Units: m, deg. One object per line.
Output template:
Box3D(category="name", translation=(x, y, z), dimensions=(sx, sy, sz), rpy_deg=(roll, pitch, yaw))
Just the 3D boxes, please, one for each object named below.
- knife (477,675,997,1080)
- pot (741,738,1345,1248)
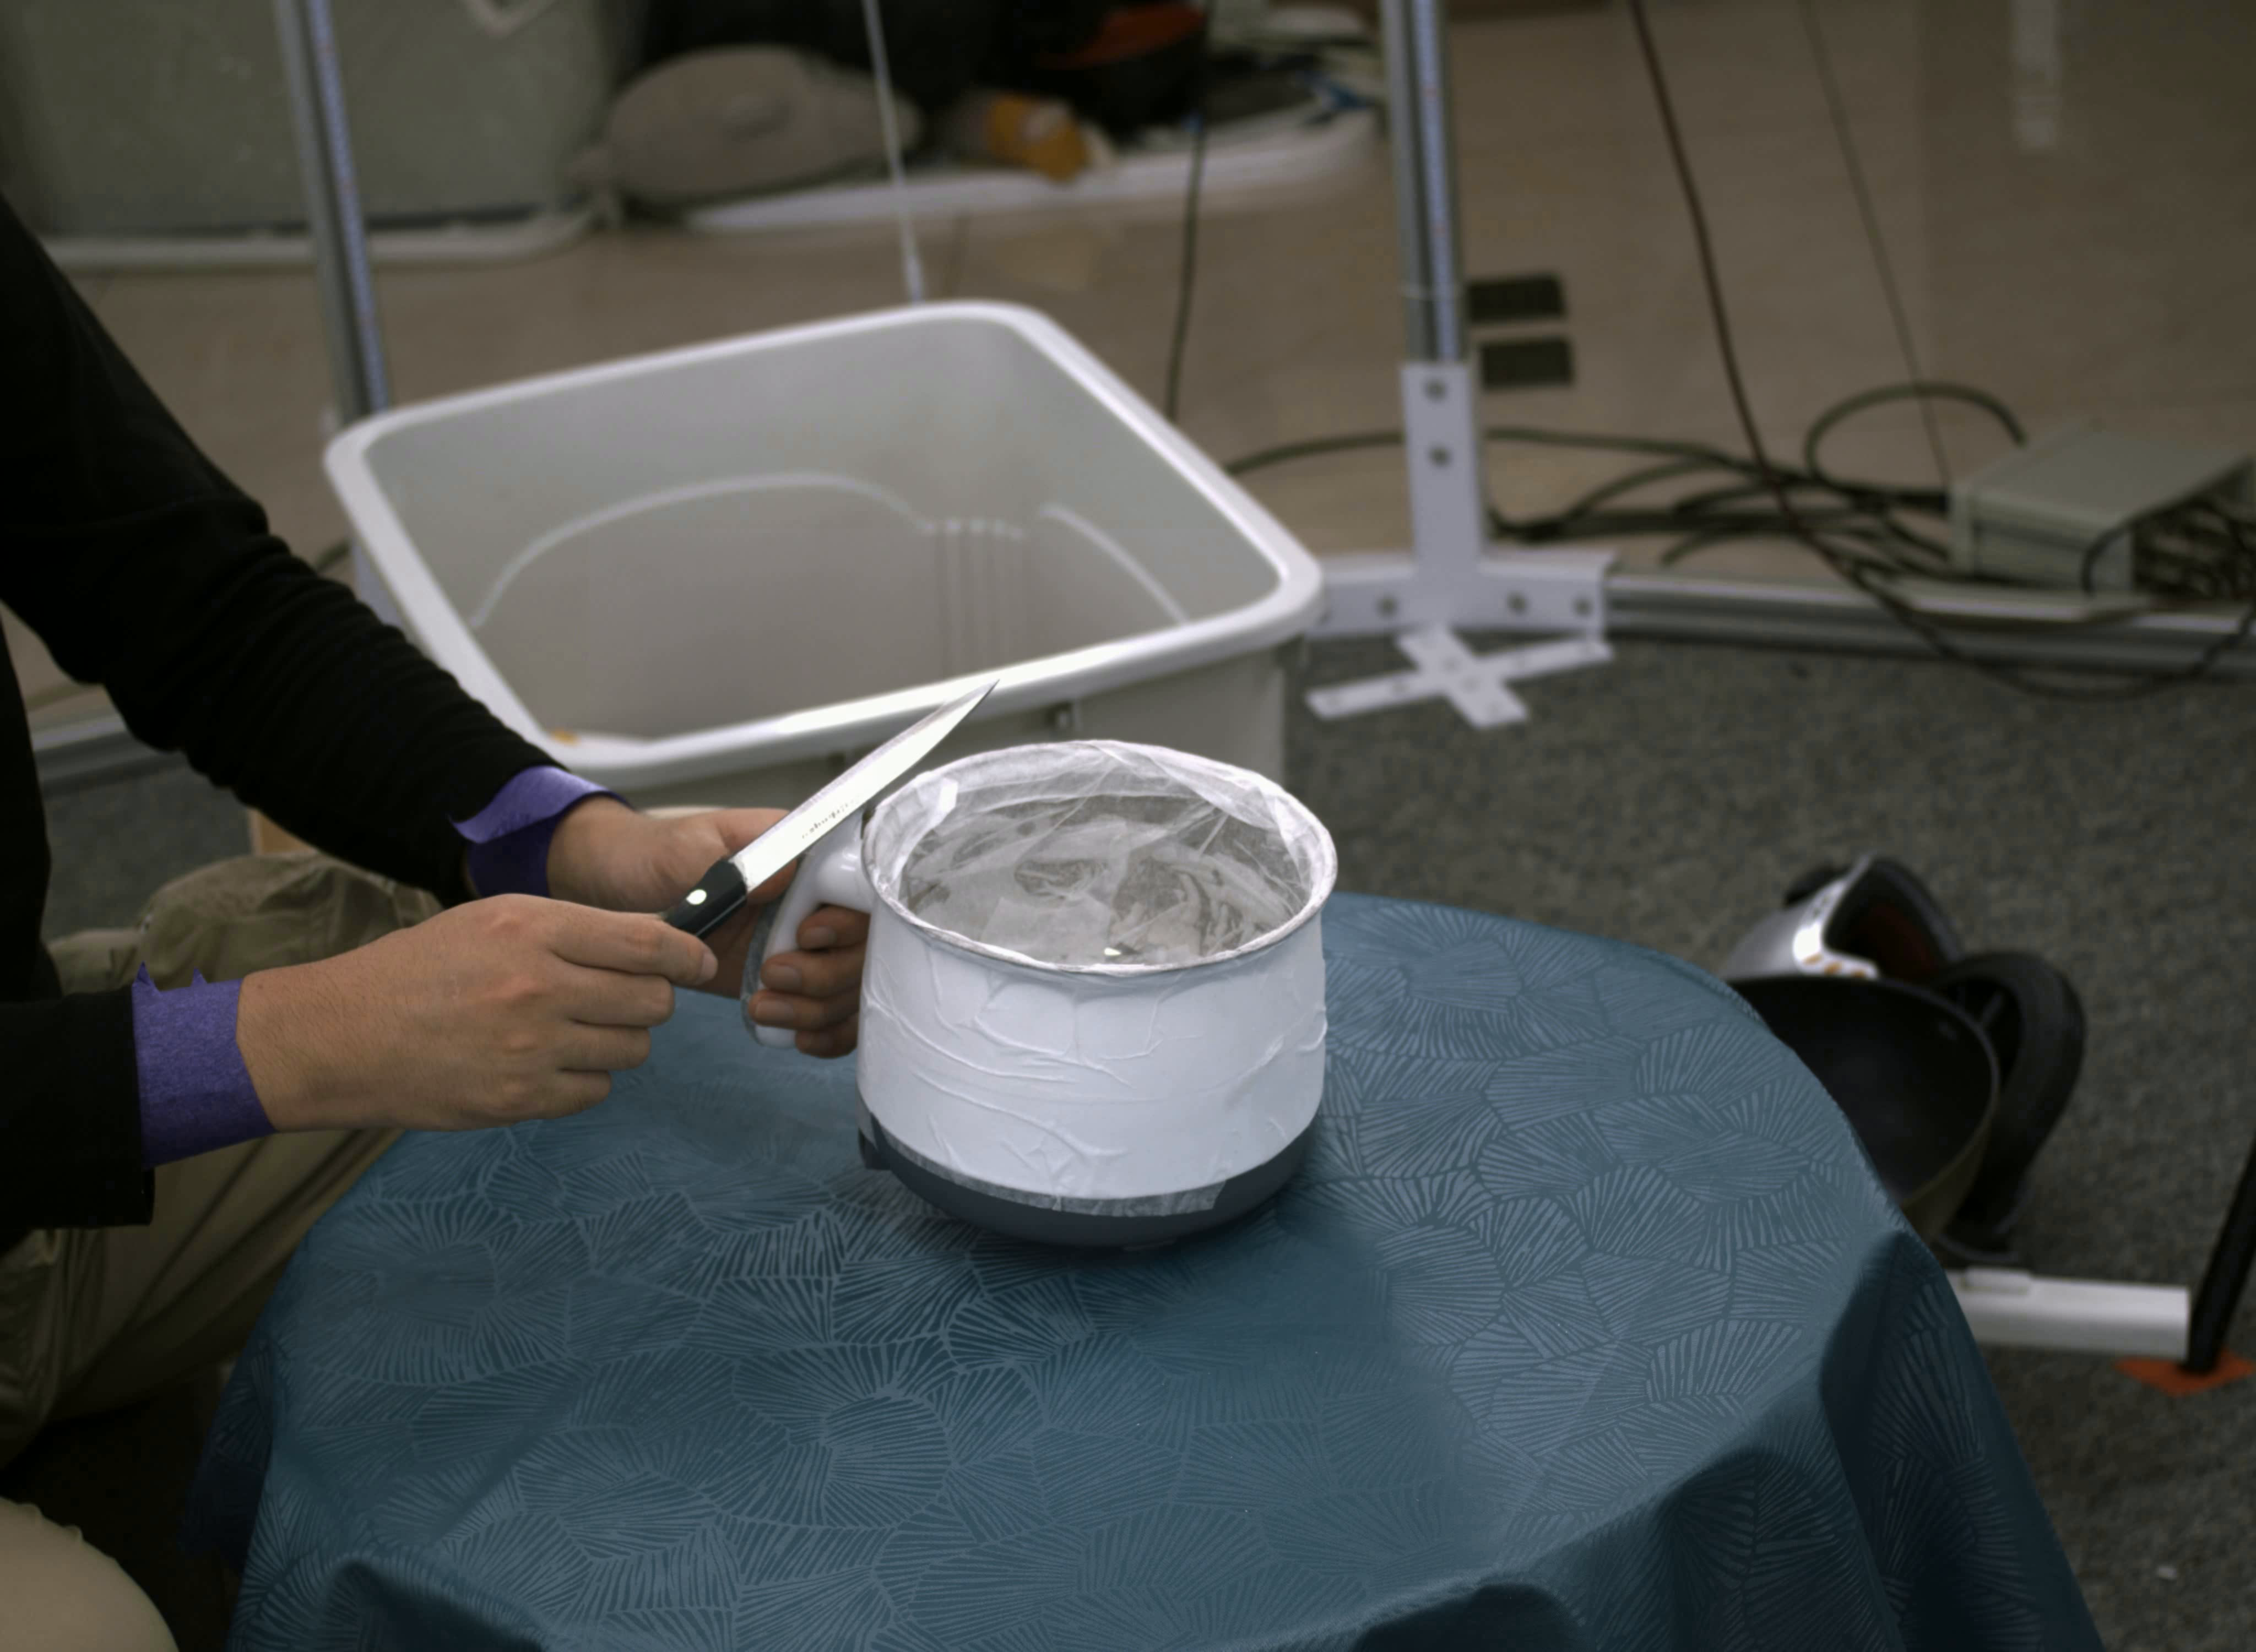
Box3D(category="knife", translation=(-0.139, 0.018, 2.071), dimensions=(0.237, 0.016, 0.024), rpy_deg=(-38, 45, -10))
Box3D(category="pot", translation=(-0.038, 0.057, 2.136), dimensions=(0.232, 0.139, 0.176), rpy_deg=(15, 31, 18))
